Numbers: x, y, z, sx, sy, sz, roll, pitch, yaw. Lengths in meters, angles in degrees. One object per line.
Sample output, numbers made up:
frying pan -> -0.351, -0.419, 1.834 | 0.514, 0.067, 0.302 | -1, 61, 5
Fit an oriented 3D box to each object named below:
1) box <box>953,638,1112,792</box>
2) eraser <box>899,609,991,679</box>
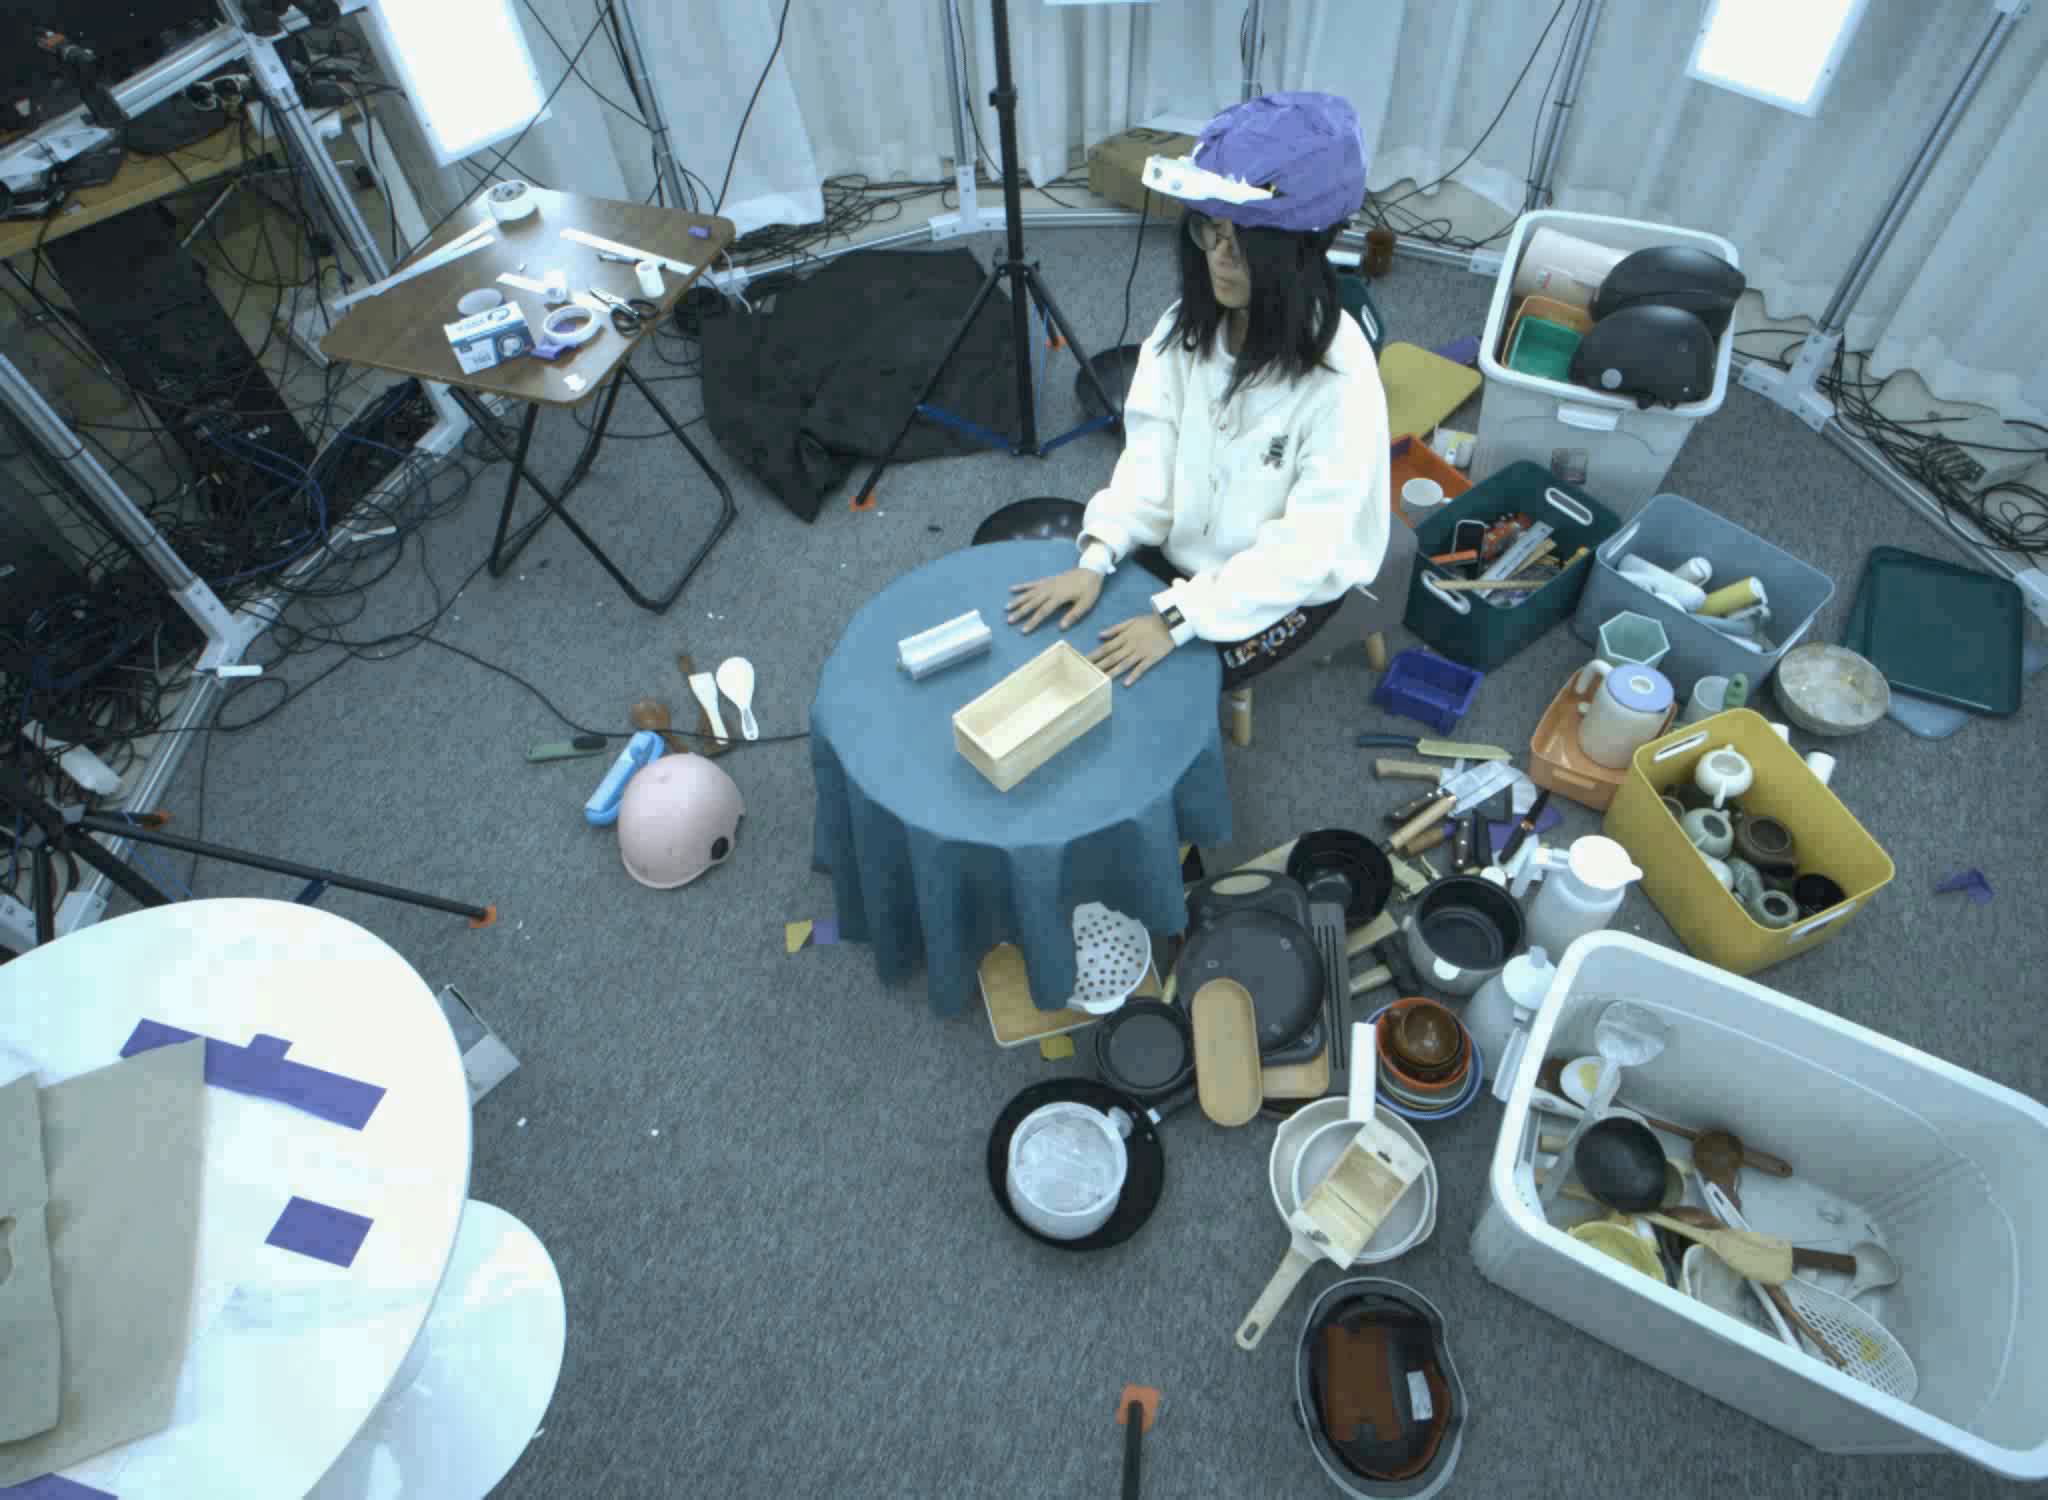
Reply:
box -> 0.015, -0.052, 1.775 | 0.213, 0.081, 0.105 | -38, 62, -21
eraser -> -0.120, -0.162, 1.877 | 0.135, 0.047, 0.049 | -27, 56, -14
